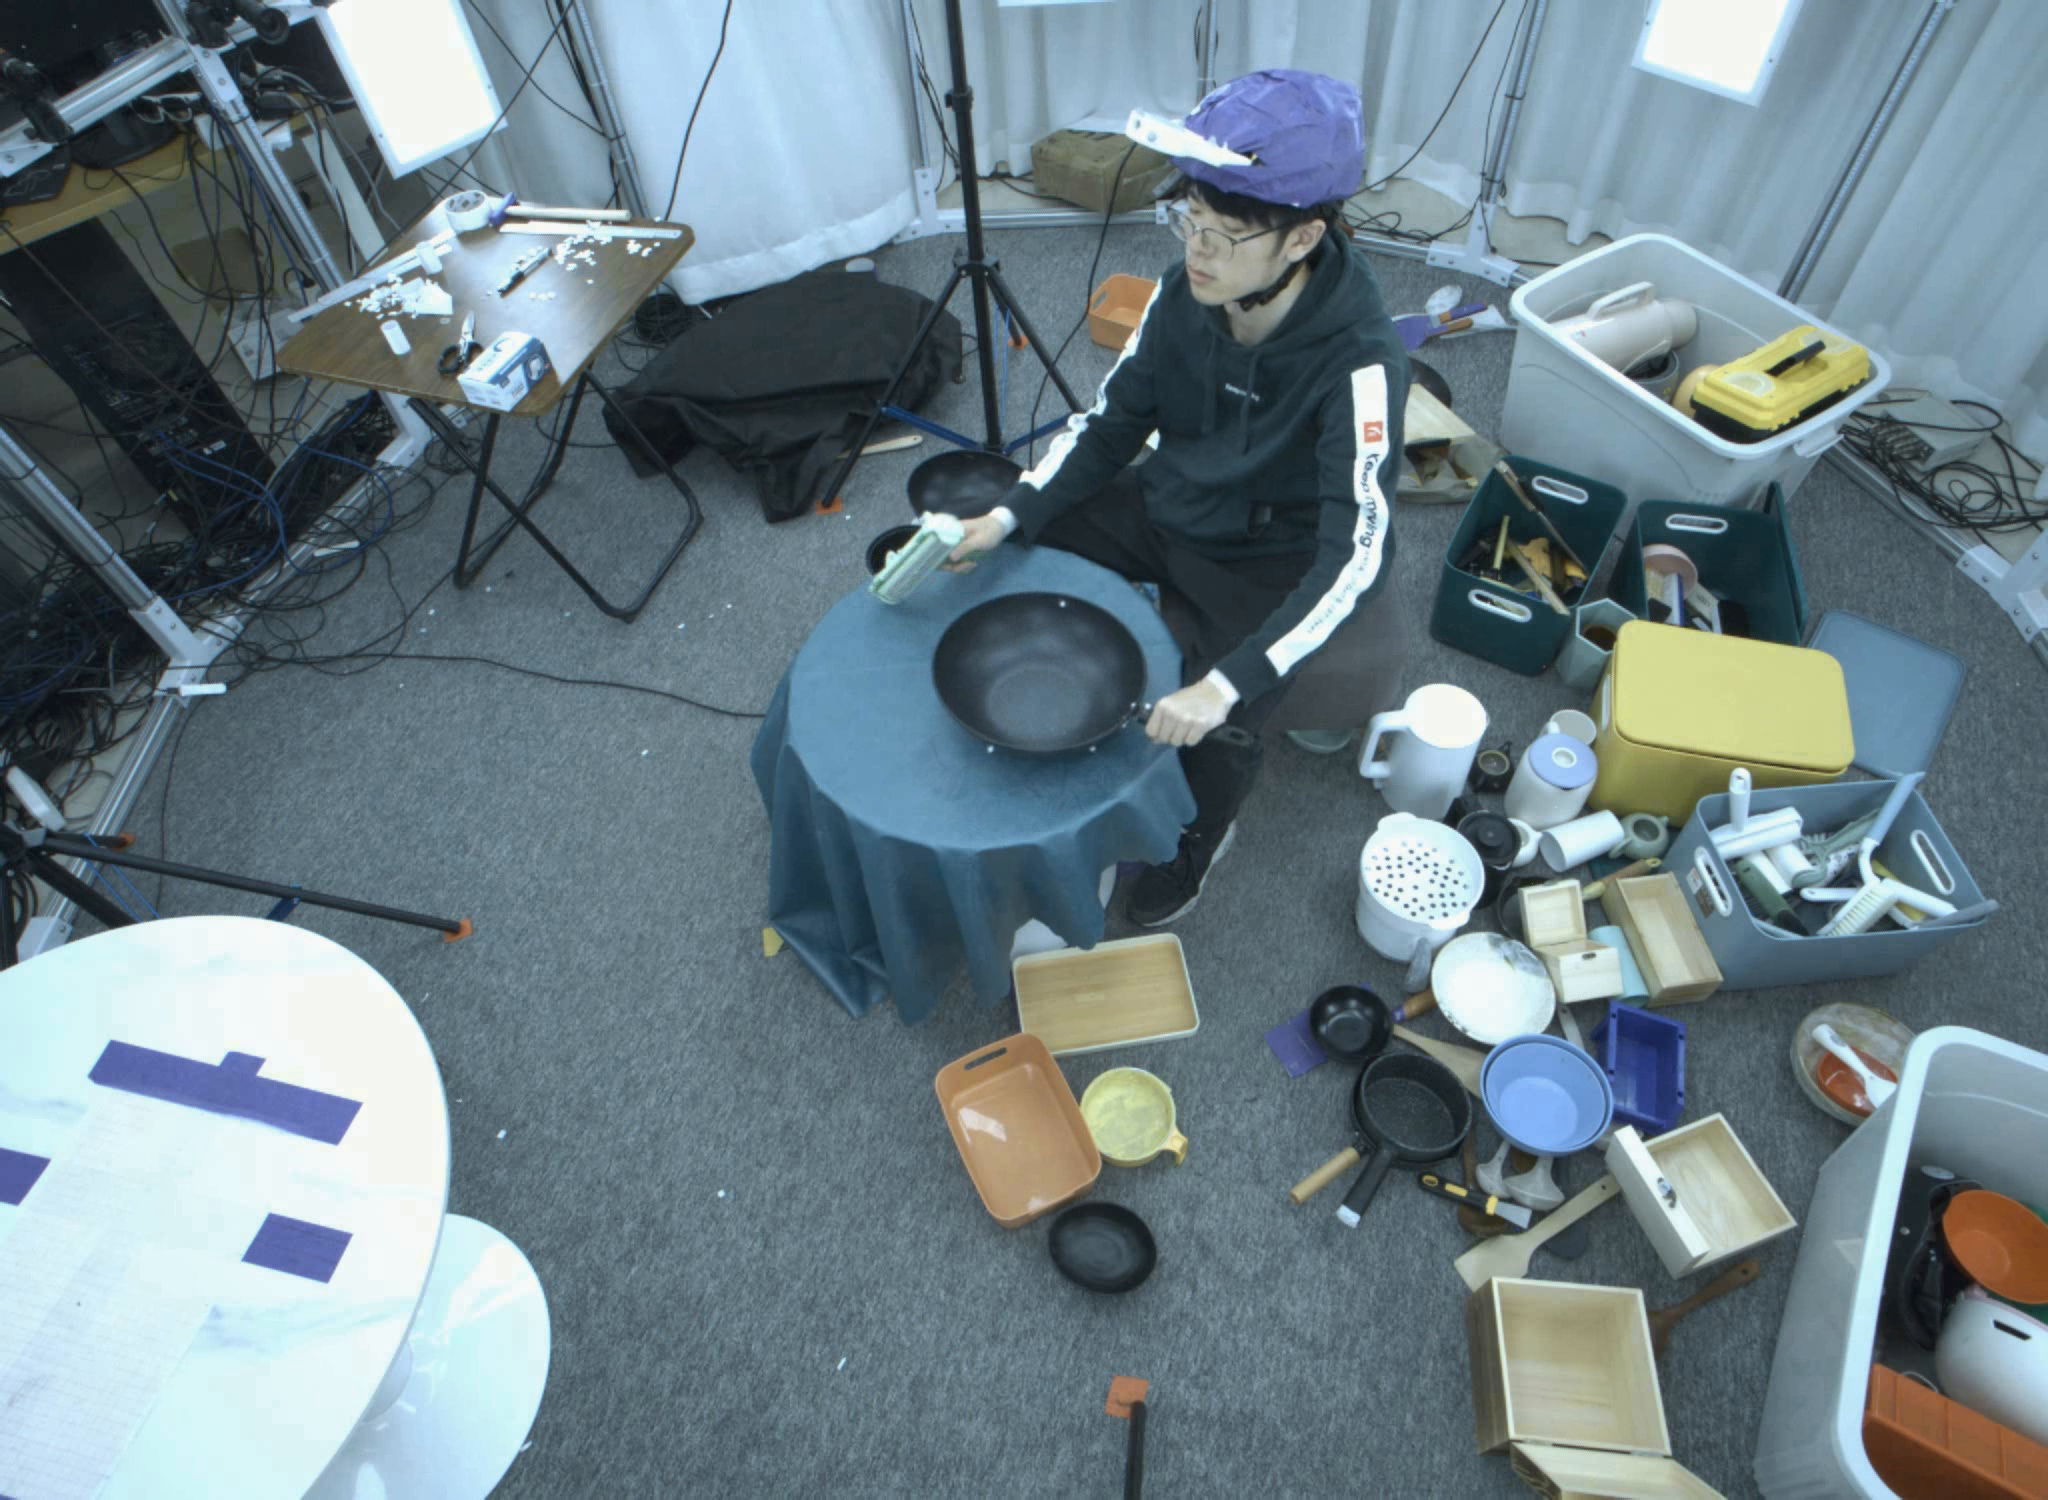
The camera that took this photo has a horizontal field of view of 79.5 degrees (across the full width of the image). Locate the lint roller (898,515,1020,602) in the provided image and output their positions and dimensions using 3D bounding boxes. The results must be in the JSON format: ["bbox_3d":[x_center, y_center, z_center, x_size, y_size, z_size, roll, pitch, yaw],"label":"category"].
[{"bbox_3d":[-0.085,-0.314,1.908,0.186,0.196,0.082,-30,91,-42],"label":"lint roller"}]

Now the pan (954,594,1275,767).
[{"bbox_3d":[0.128,-0.061,1.750,0.471,0.112,0.311,25,57,16],"label":"pan"}]
